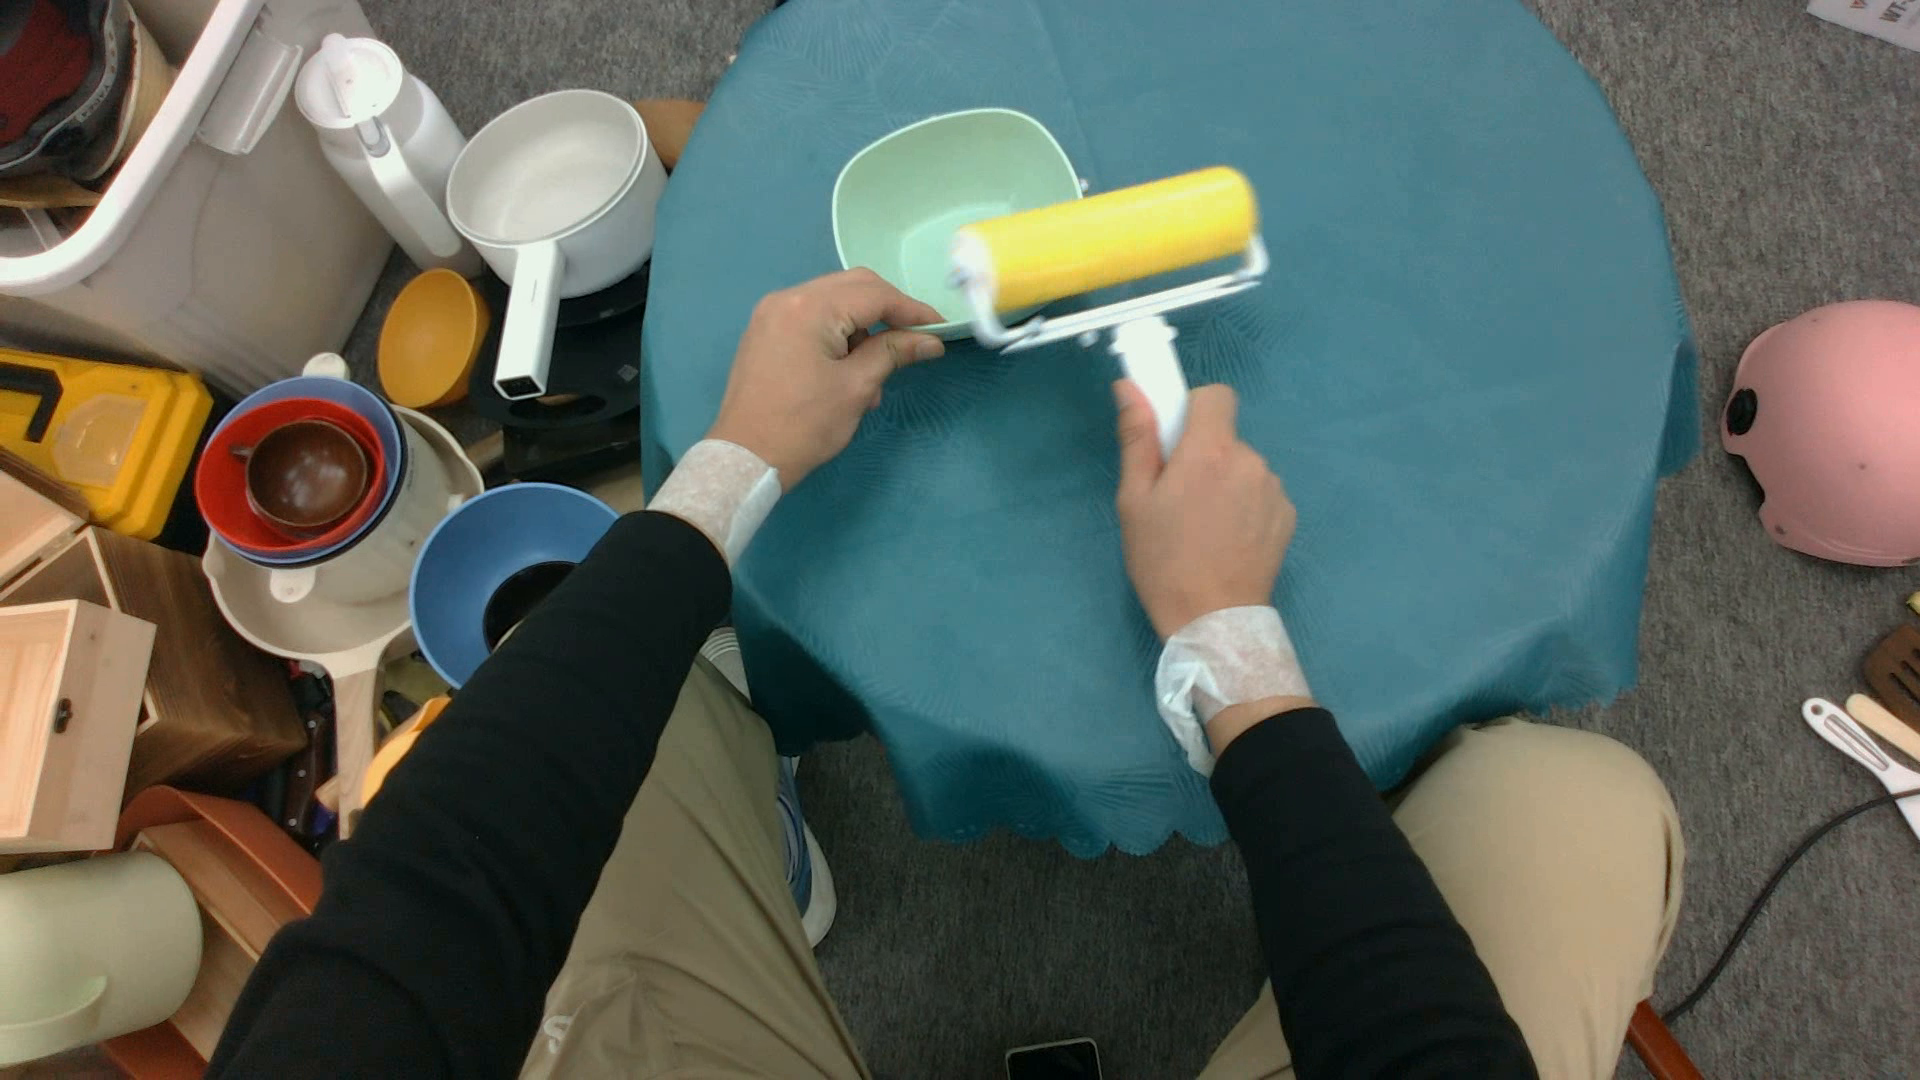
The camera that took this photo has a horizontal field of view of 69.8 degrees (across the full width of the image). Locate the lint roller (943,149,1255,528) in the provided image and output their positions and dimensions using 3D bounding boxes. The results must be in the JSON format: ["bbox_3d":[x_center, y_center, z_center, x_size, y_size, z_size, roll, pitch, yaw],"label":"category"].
[{"bbox_3d":[0.100,-0.100,0.712,0.175,0.051,0.192,-18,79,-23],"label":"lint roller"}]

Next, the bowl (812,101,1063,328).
[{"bbox_3d":[-0.009,-0.175,0.786,0.151,0.058,0.152,-3,66,6],"label":"bowl"}]
